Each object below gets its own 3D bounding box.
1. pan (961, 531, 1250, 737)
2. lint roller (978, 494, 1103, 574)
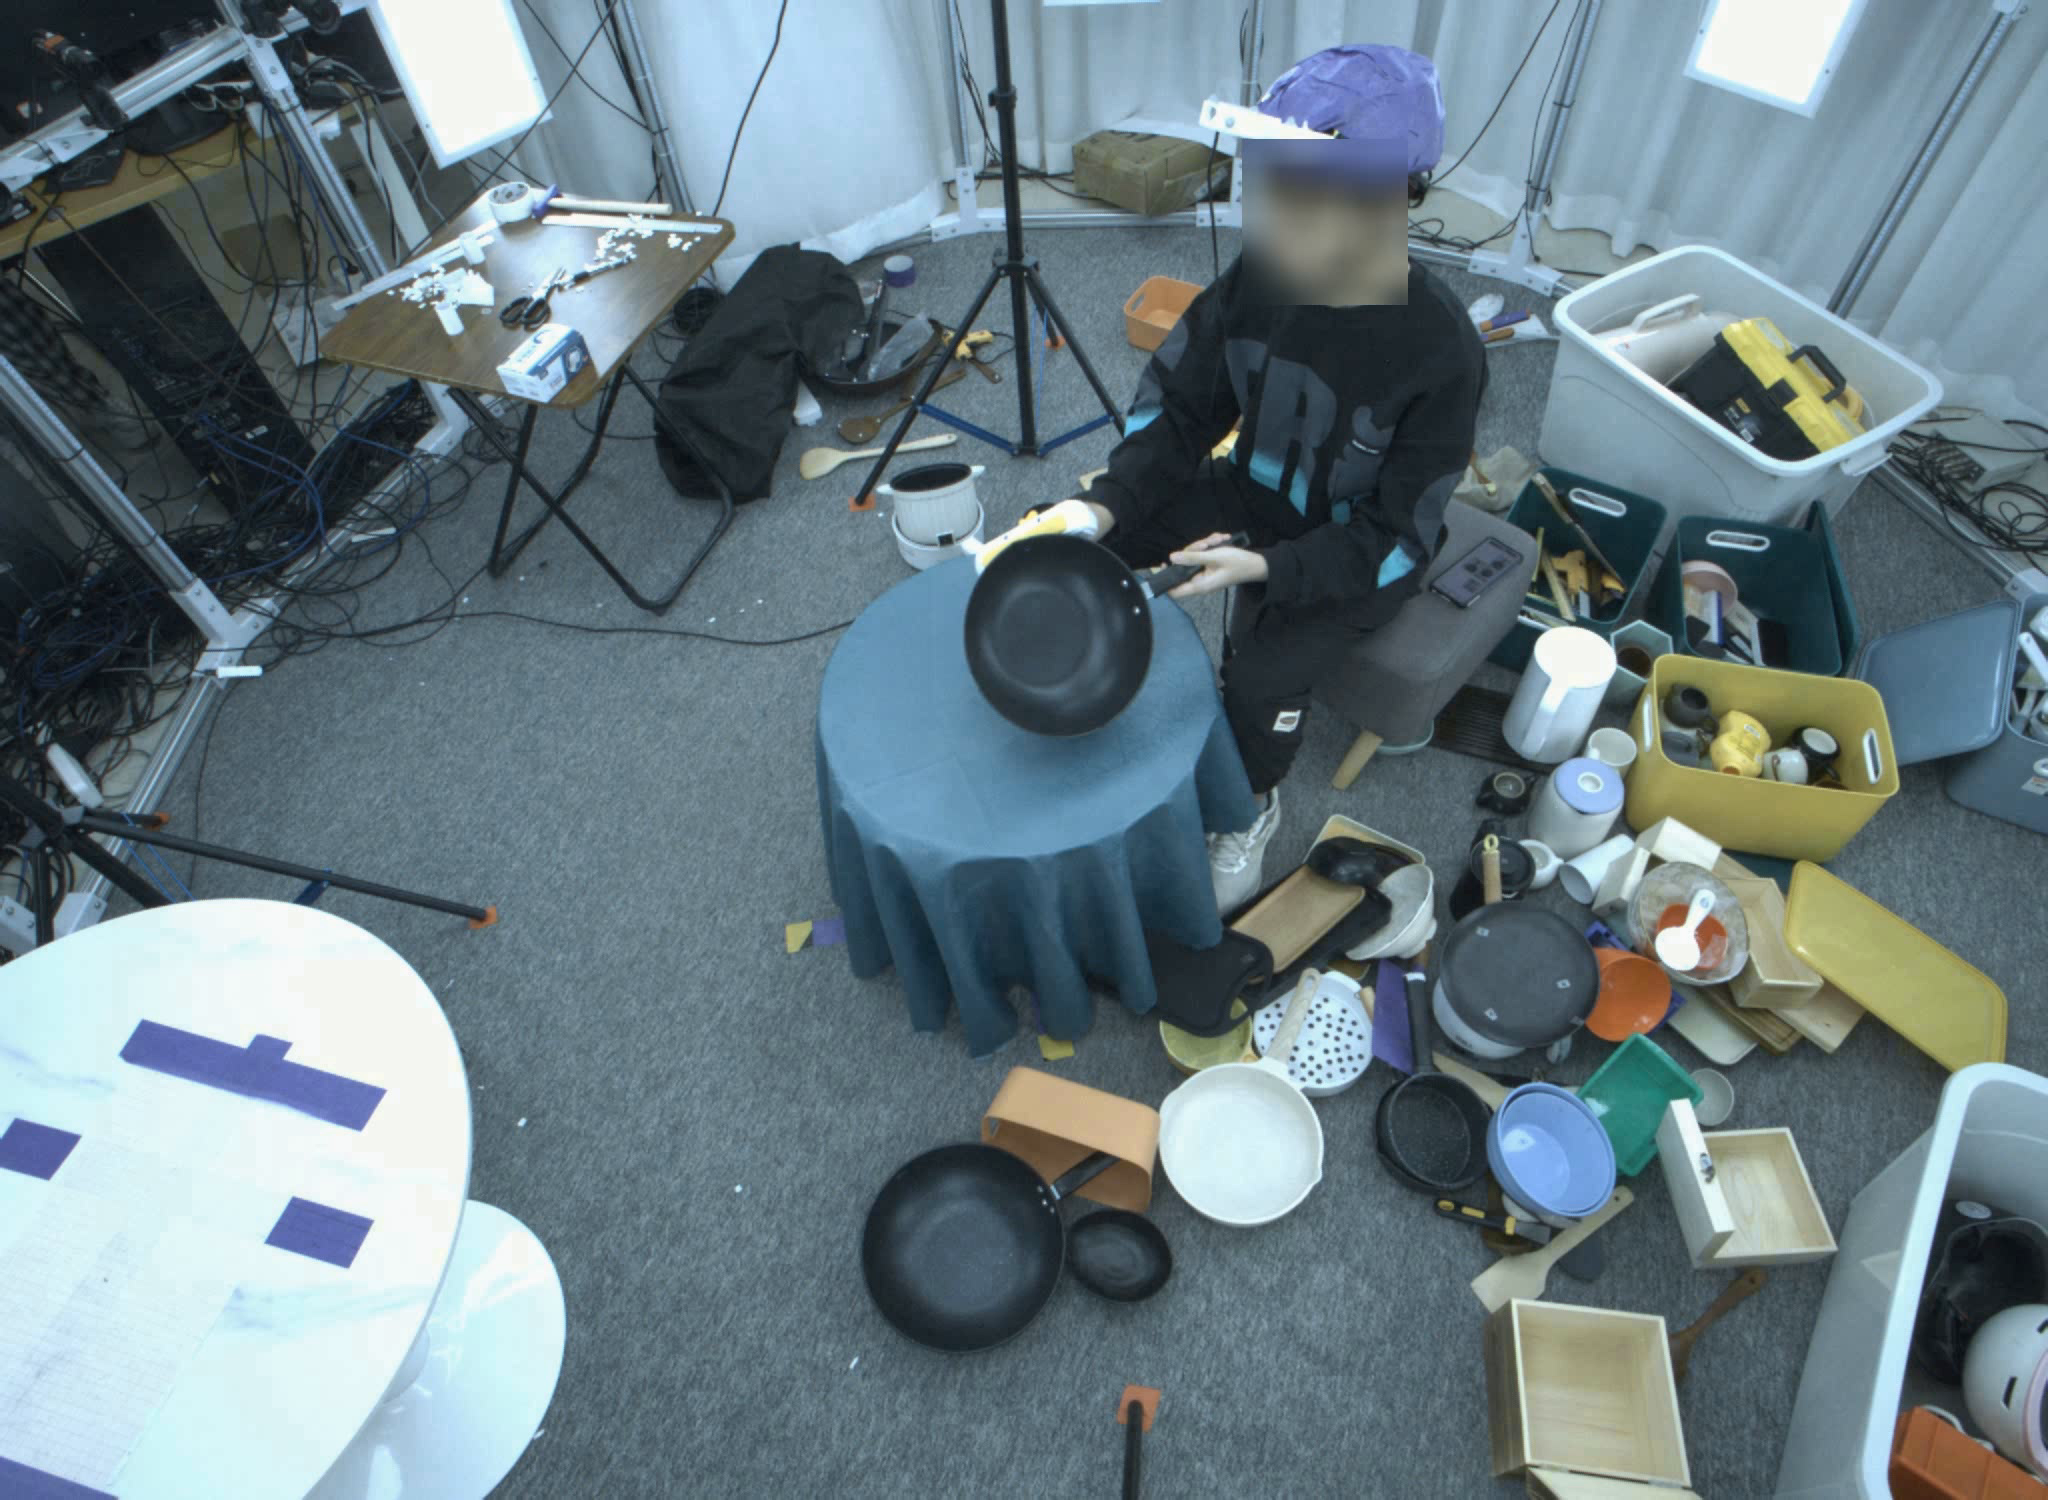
[{"bbox_3d":[0.113,-0.202,1.742,0.467,0.085,0.290,-29,103,-16],"label":"pan"},{"bbox_3d":[0.042,-0.312,1.789,0.191,0.195,0.074,-29,84,24],"label":"lint roller"}]
